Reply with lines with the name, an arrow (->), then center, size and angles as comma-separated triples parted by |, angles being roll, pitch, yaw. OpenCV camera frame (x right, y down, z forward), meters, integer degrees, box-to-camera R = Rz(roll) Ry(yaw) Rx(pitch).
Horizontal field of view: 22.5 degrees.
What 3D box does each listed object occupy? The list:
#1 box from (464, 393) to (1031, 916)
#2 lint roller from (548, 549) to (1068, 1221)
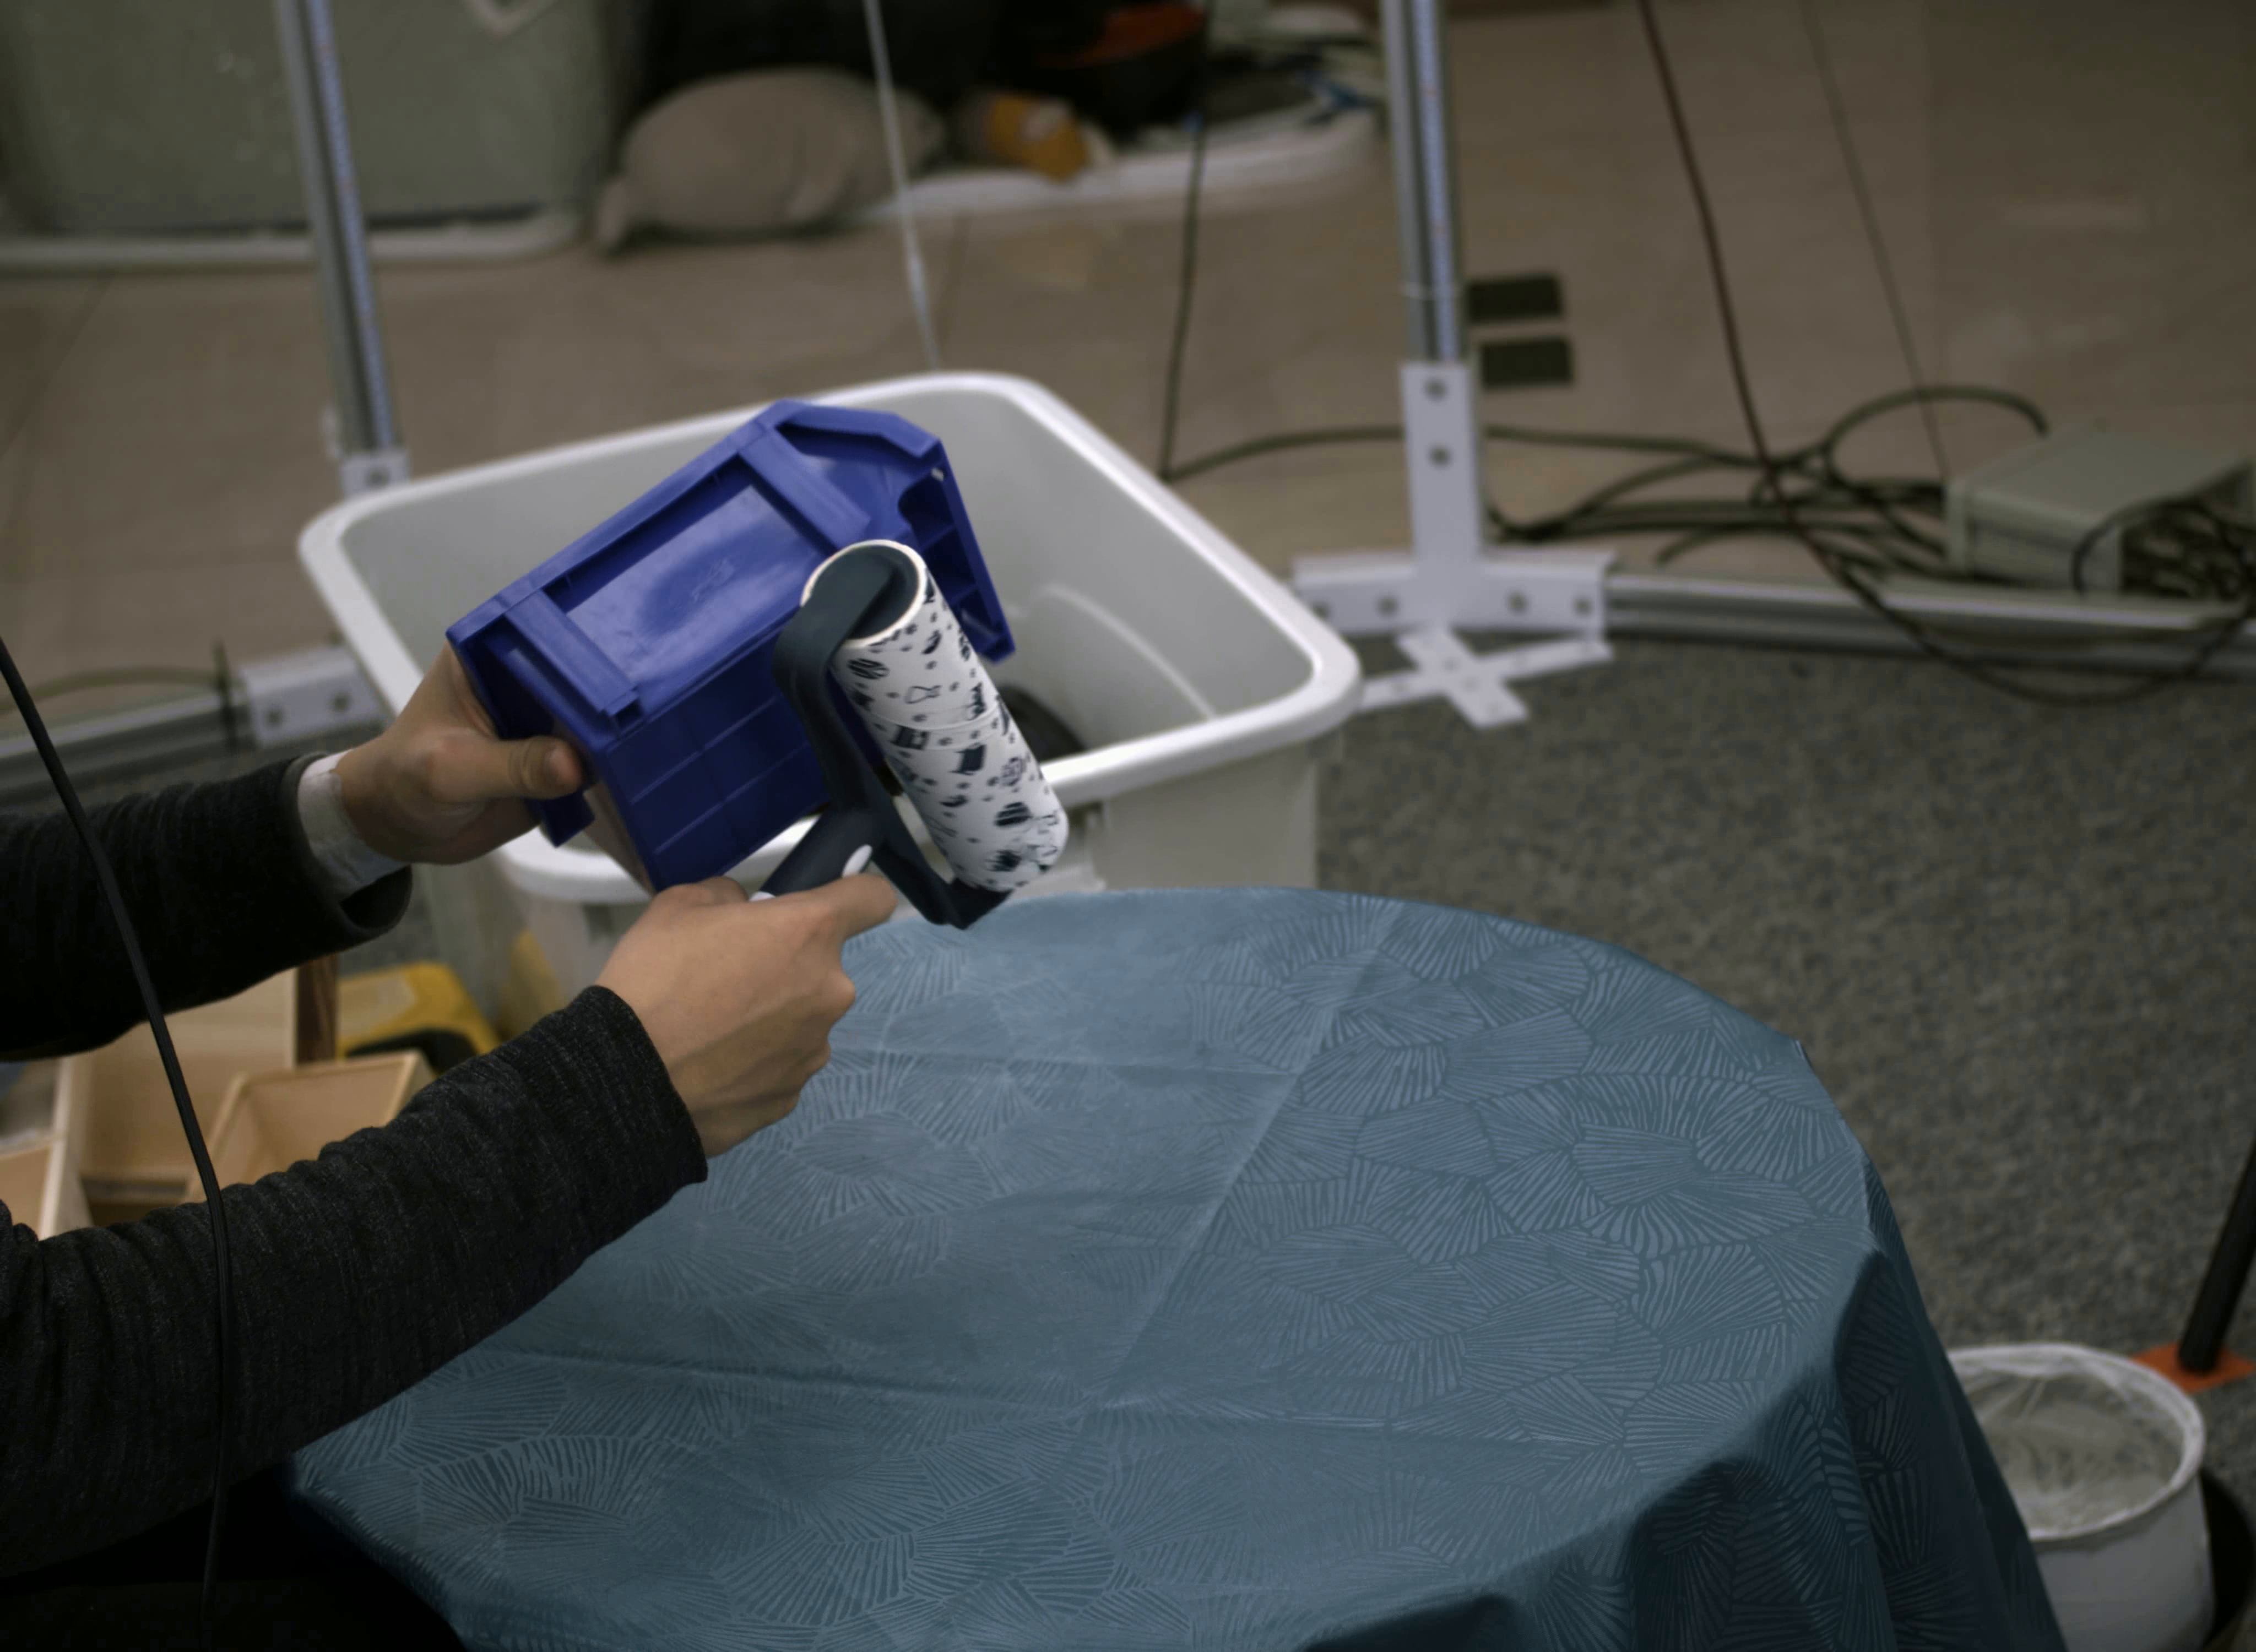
box -> -0.131, -0.065, 2.056 | 0.178, 0.127, 0.081 | -37, 52, -13
lint roller -> -0.120, 0.042, 2.008 | 0.050, 0.179, 0.245 | 23, 69, 31
